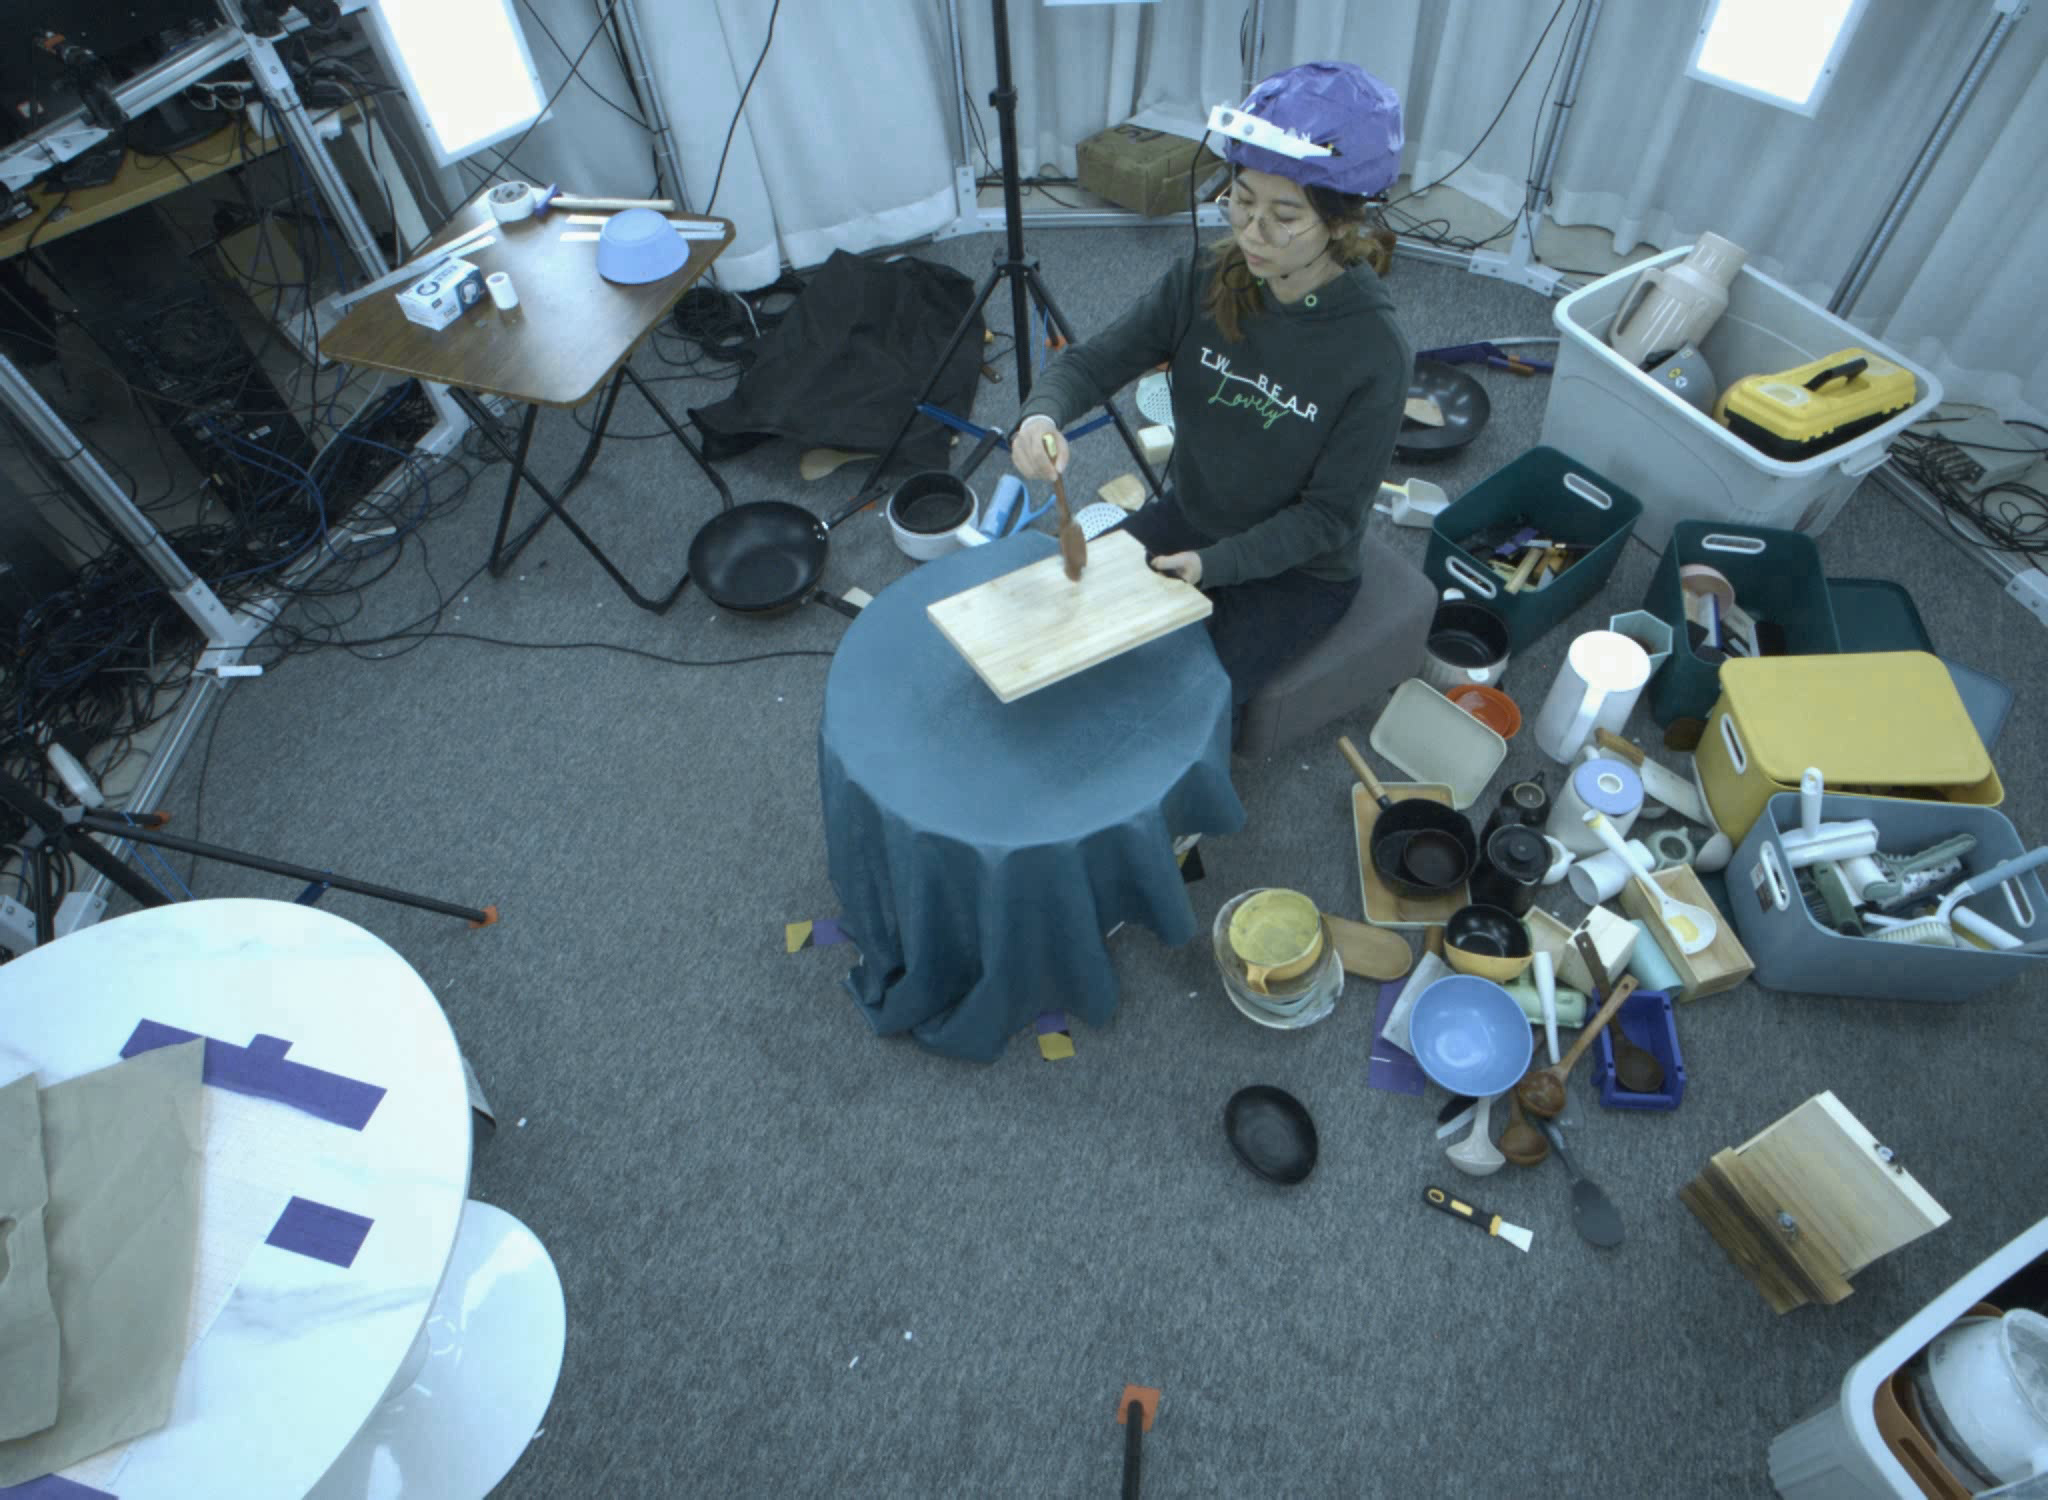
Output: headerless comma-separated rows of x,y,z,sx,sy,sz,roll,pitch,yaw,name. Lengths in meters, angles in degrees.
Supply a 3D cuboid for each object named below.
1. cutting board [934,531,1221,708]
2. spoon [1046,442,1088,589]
0.071,-0.198,1.773,0.352,0.024,0.245,-25,48,-19,cutting board
0.054,-0.321,1.676,0.017,0.219,0.076,8,39,27,spoon
